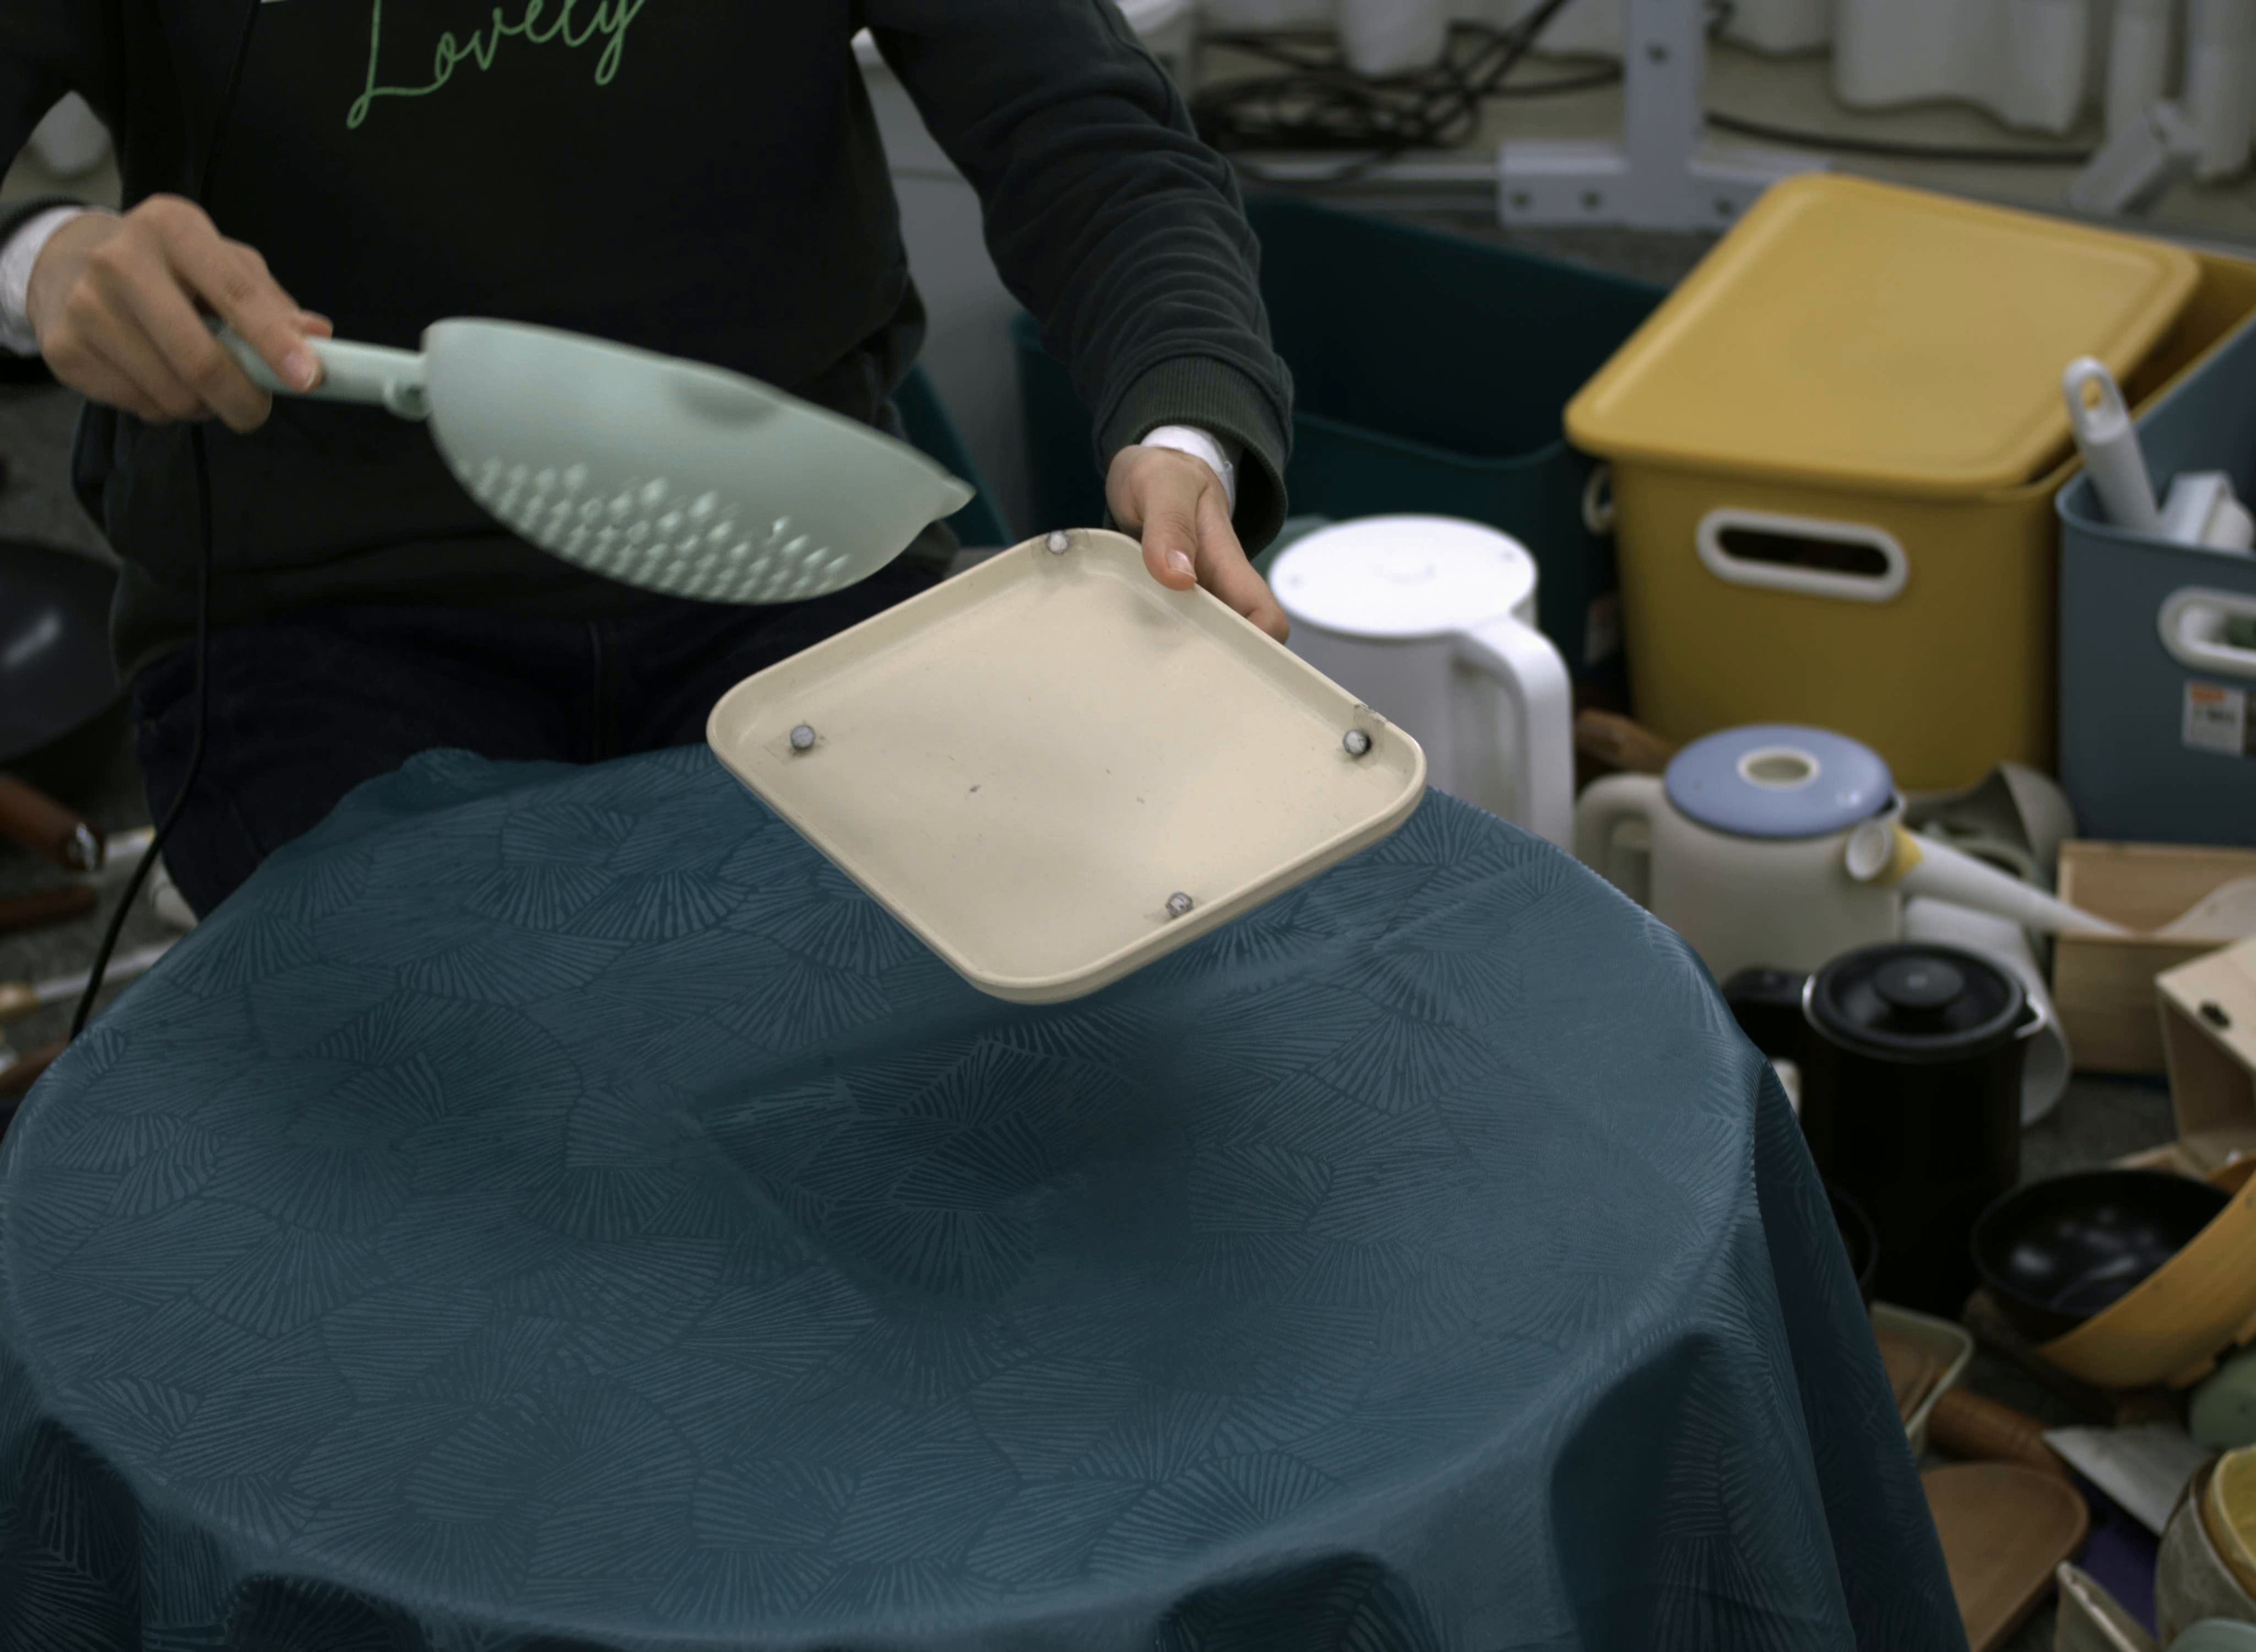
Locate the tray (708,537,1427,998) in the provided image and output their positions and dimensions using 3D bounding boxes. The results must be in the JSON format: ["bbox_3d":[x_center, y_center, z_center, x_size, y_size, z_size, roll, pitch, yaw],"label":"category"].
[{"bbox_3d":[-0.022,-0.021,1.852,0.172,0.017,0.240,-27,34,-20],"label":"tray"}]

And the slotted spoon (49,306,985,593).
[{"bbox_3d":[-0.216,-0.137,1.821,0.358,0.076,0.169,20,-3,35],"label":"slotted spoon"}]
